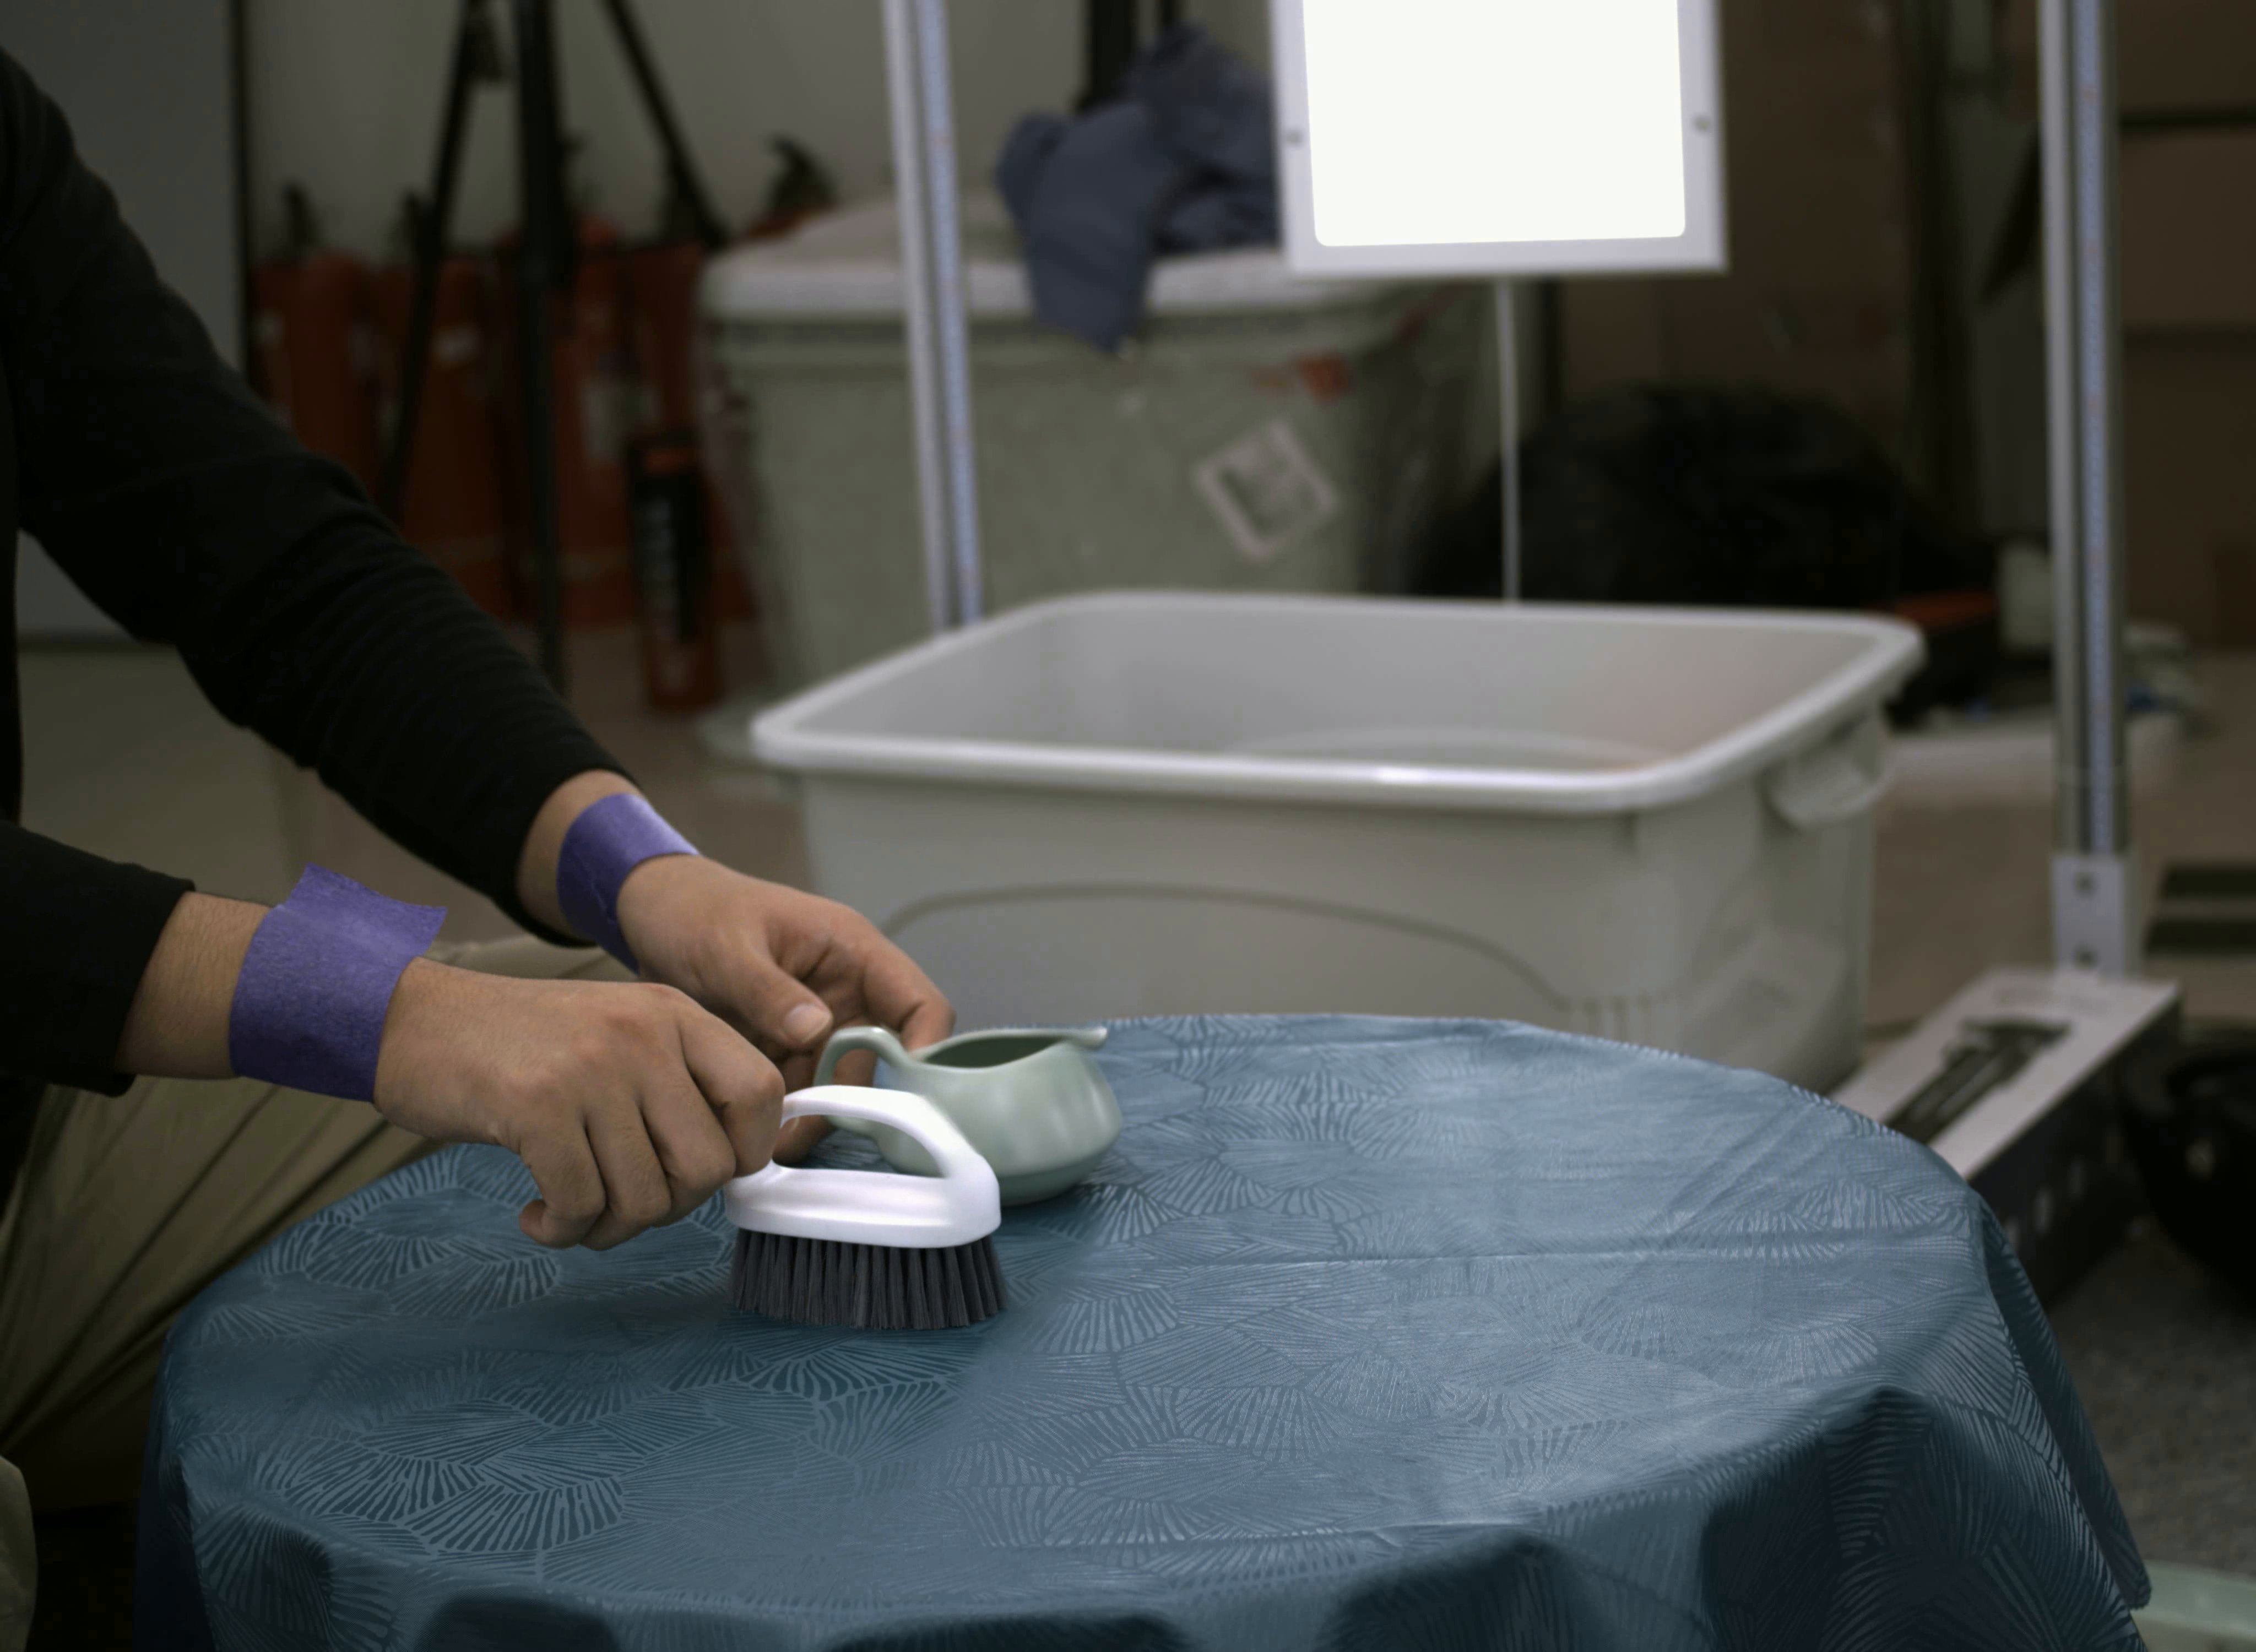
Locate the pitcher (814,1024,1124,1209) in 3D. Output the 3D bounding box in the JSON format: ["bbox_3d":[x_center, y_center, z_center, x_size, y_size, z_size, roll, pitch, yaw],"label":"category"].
[{"bbox_3d":[-0.056,0.100,1.911,0.109,0.060,0.085,-5,13,11],"label":"pitcher"}]

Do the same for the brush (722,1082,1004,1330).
[{"bbox_3d":[-0.088,0.120,1.800,0.101,0.073,0.049,5,15,33],"label":"brush"}]
